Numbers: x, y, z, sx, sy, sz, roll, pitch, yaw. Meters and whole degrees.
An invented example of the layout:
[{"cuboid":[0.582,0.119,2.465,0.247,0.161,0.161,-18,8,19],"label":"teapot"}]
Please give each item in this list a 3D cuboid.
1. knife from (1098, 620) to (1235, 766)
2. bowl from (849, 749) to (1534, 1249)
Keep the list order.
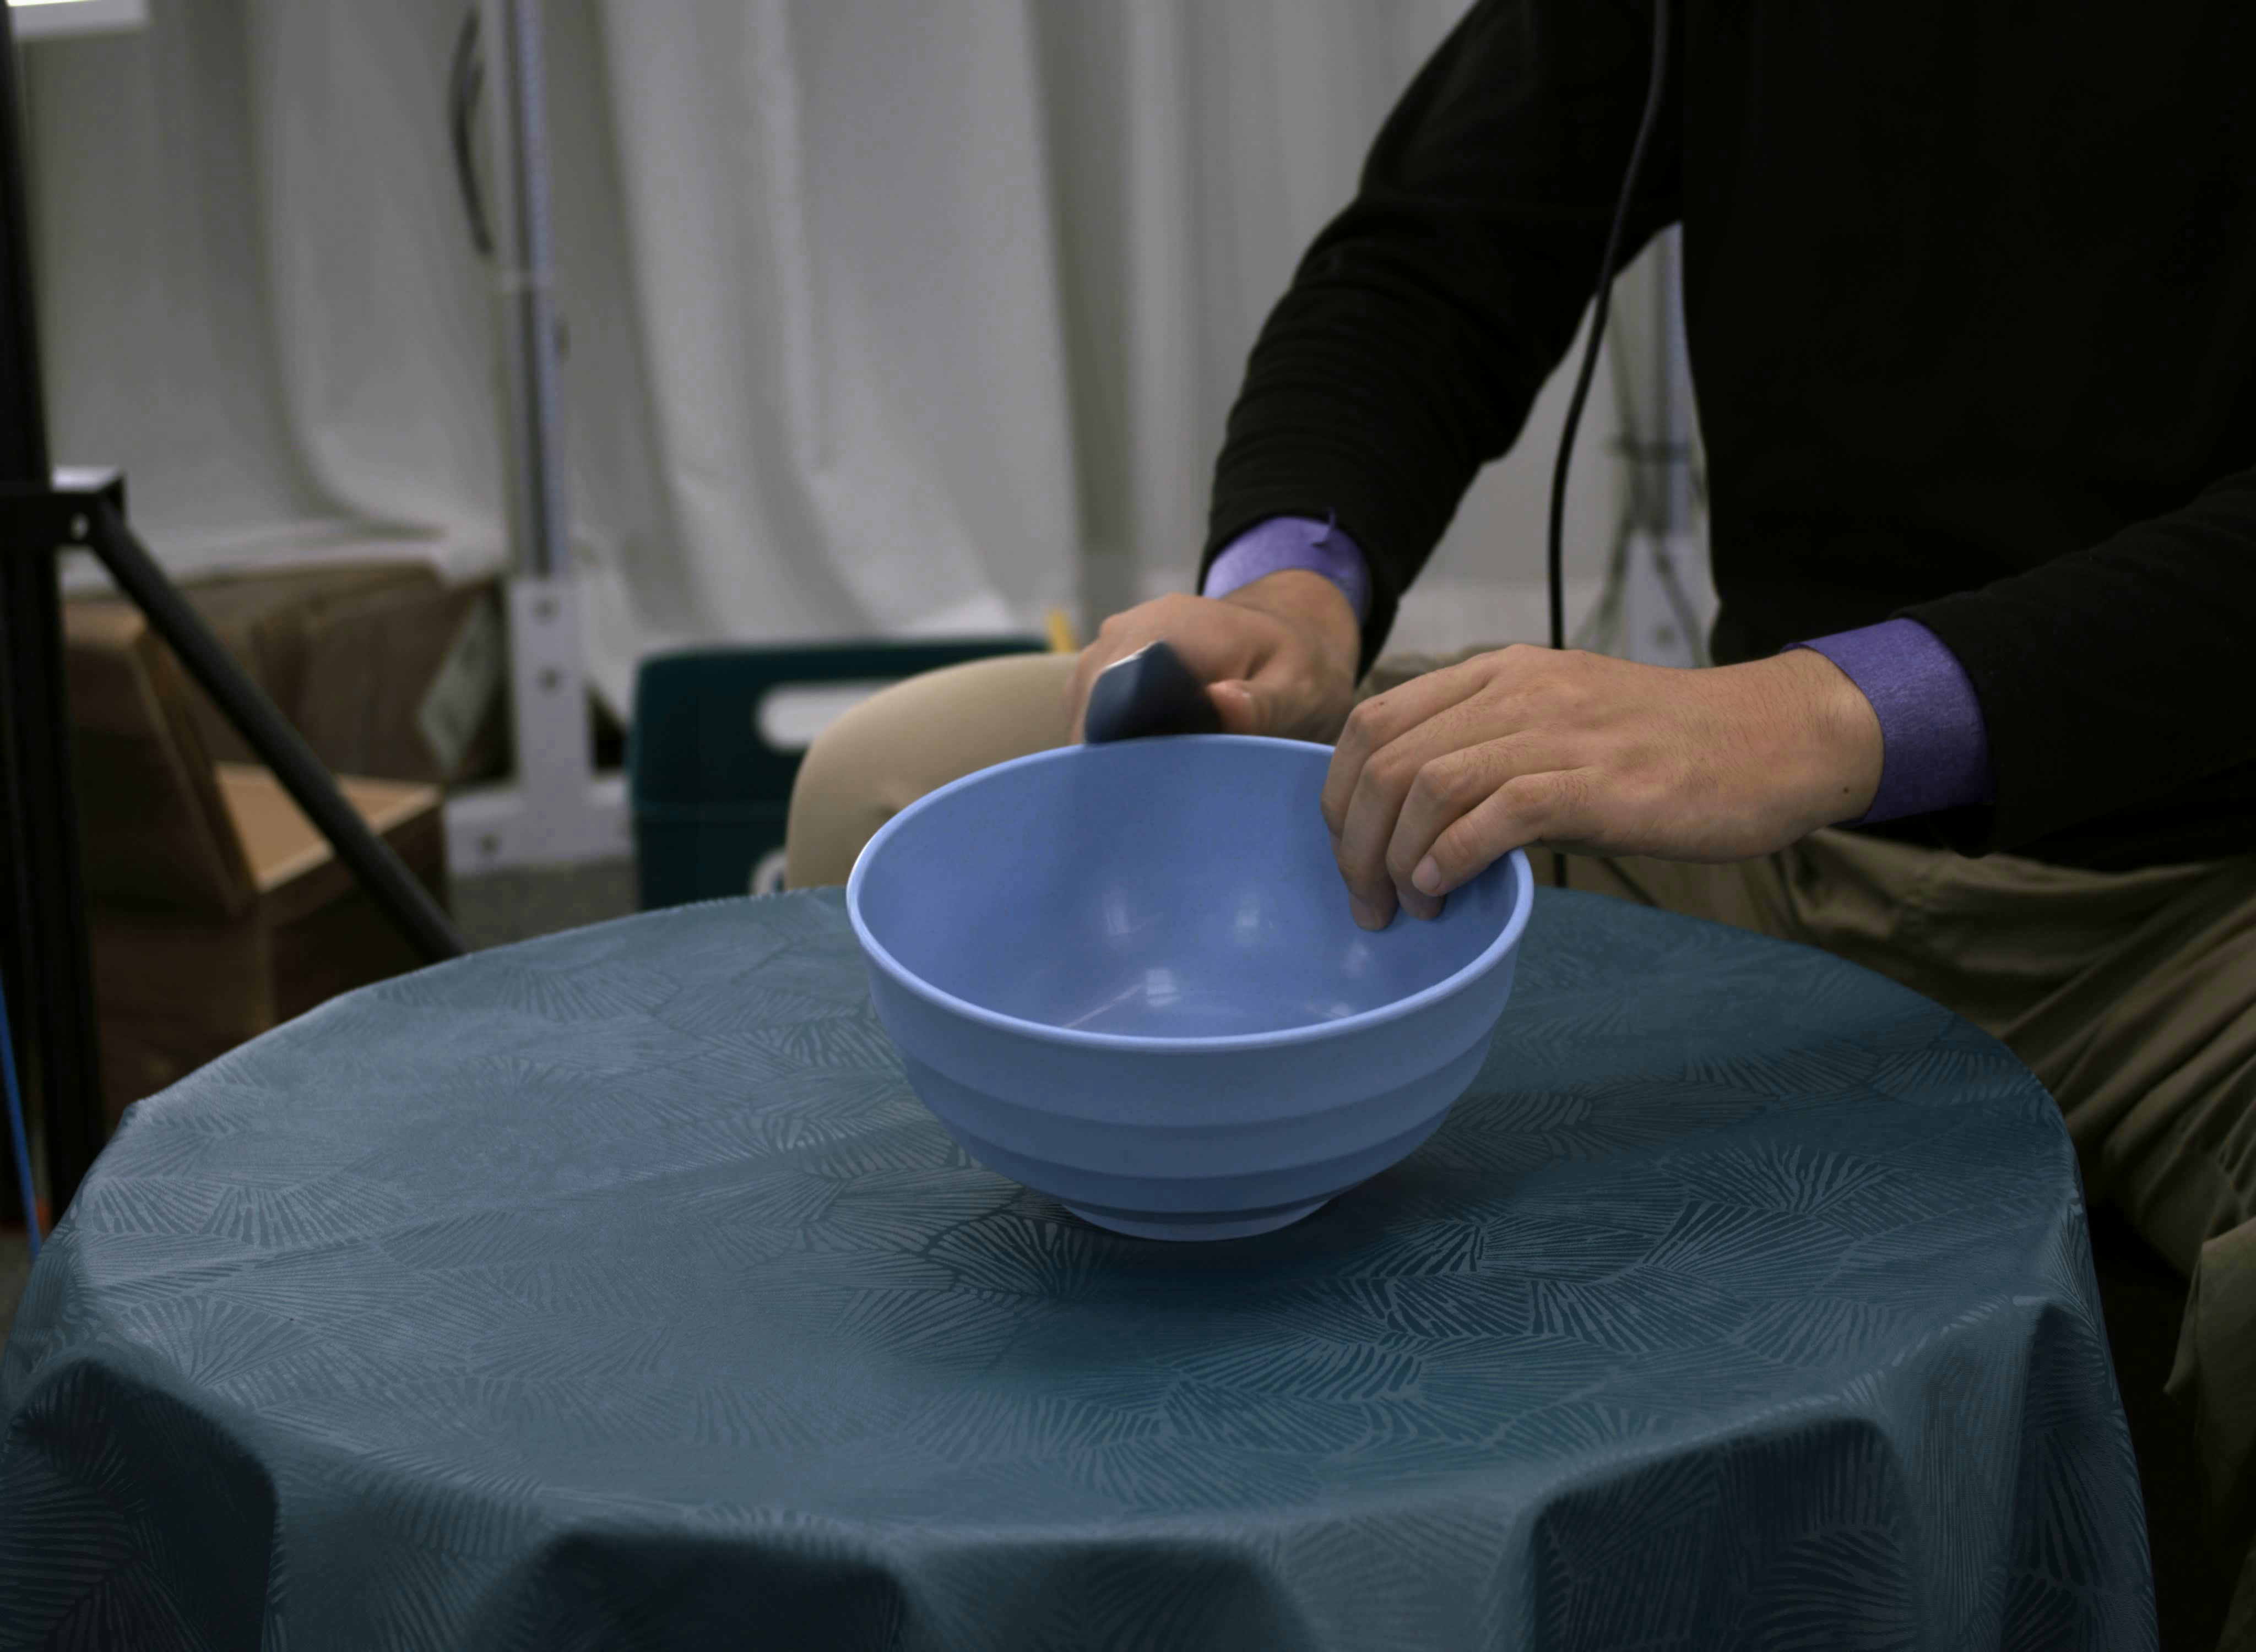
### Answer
[{"cuboid":[0.012,-0.034,1.626,0.050,0.020,0.287,-30,-7,0],"label":"knife"},{"cuboid":[0.019,0.059,1.533,0.195,0.095,0.198,-2,25,-1],"label":"bowl"}]
